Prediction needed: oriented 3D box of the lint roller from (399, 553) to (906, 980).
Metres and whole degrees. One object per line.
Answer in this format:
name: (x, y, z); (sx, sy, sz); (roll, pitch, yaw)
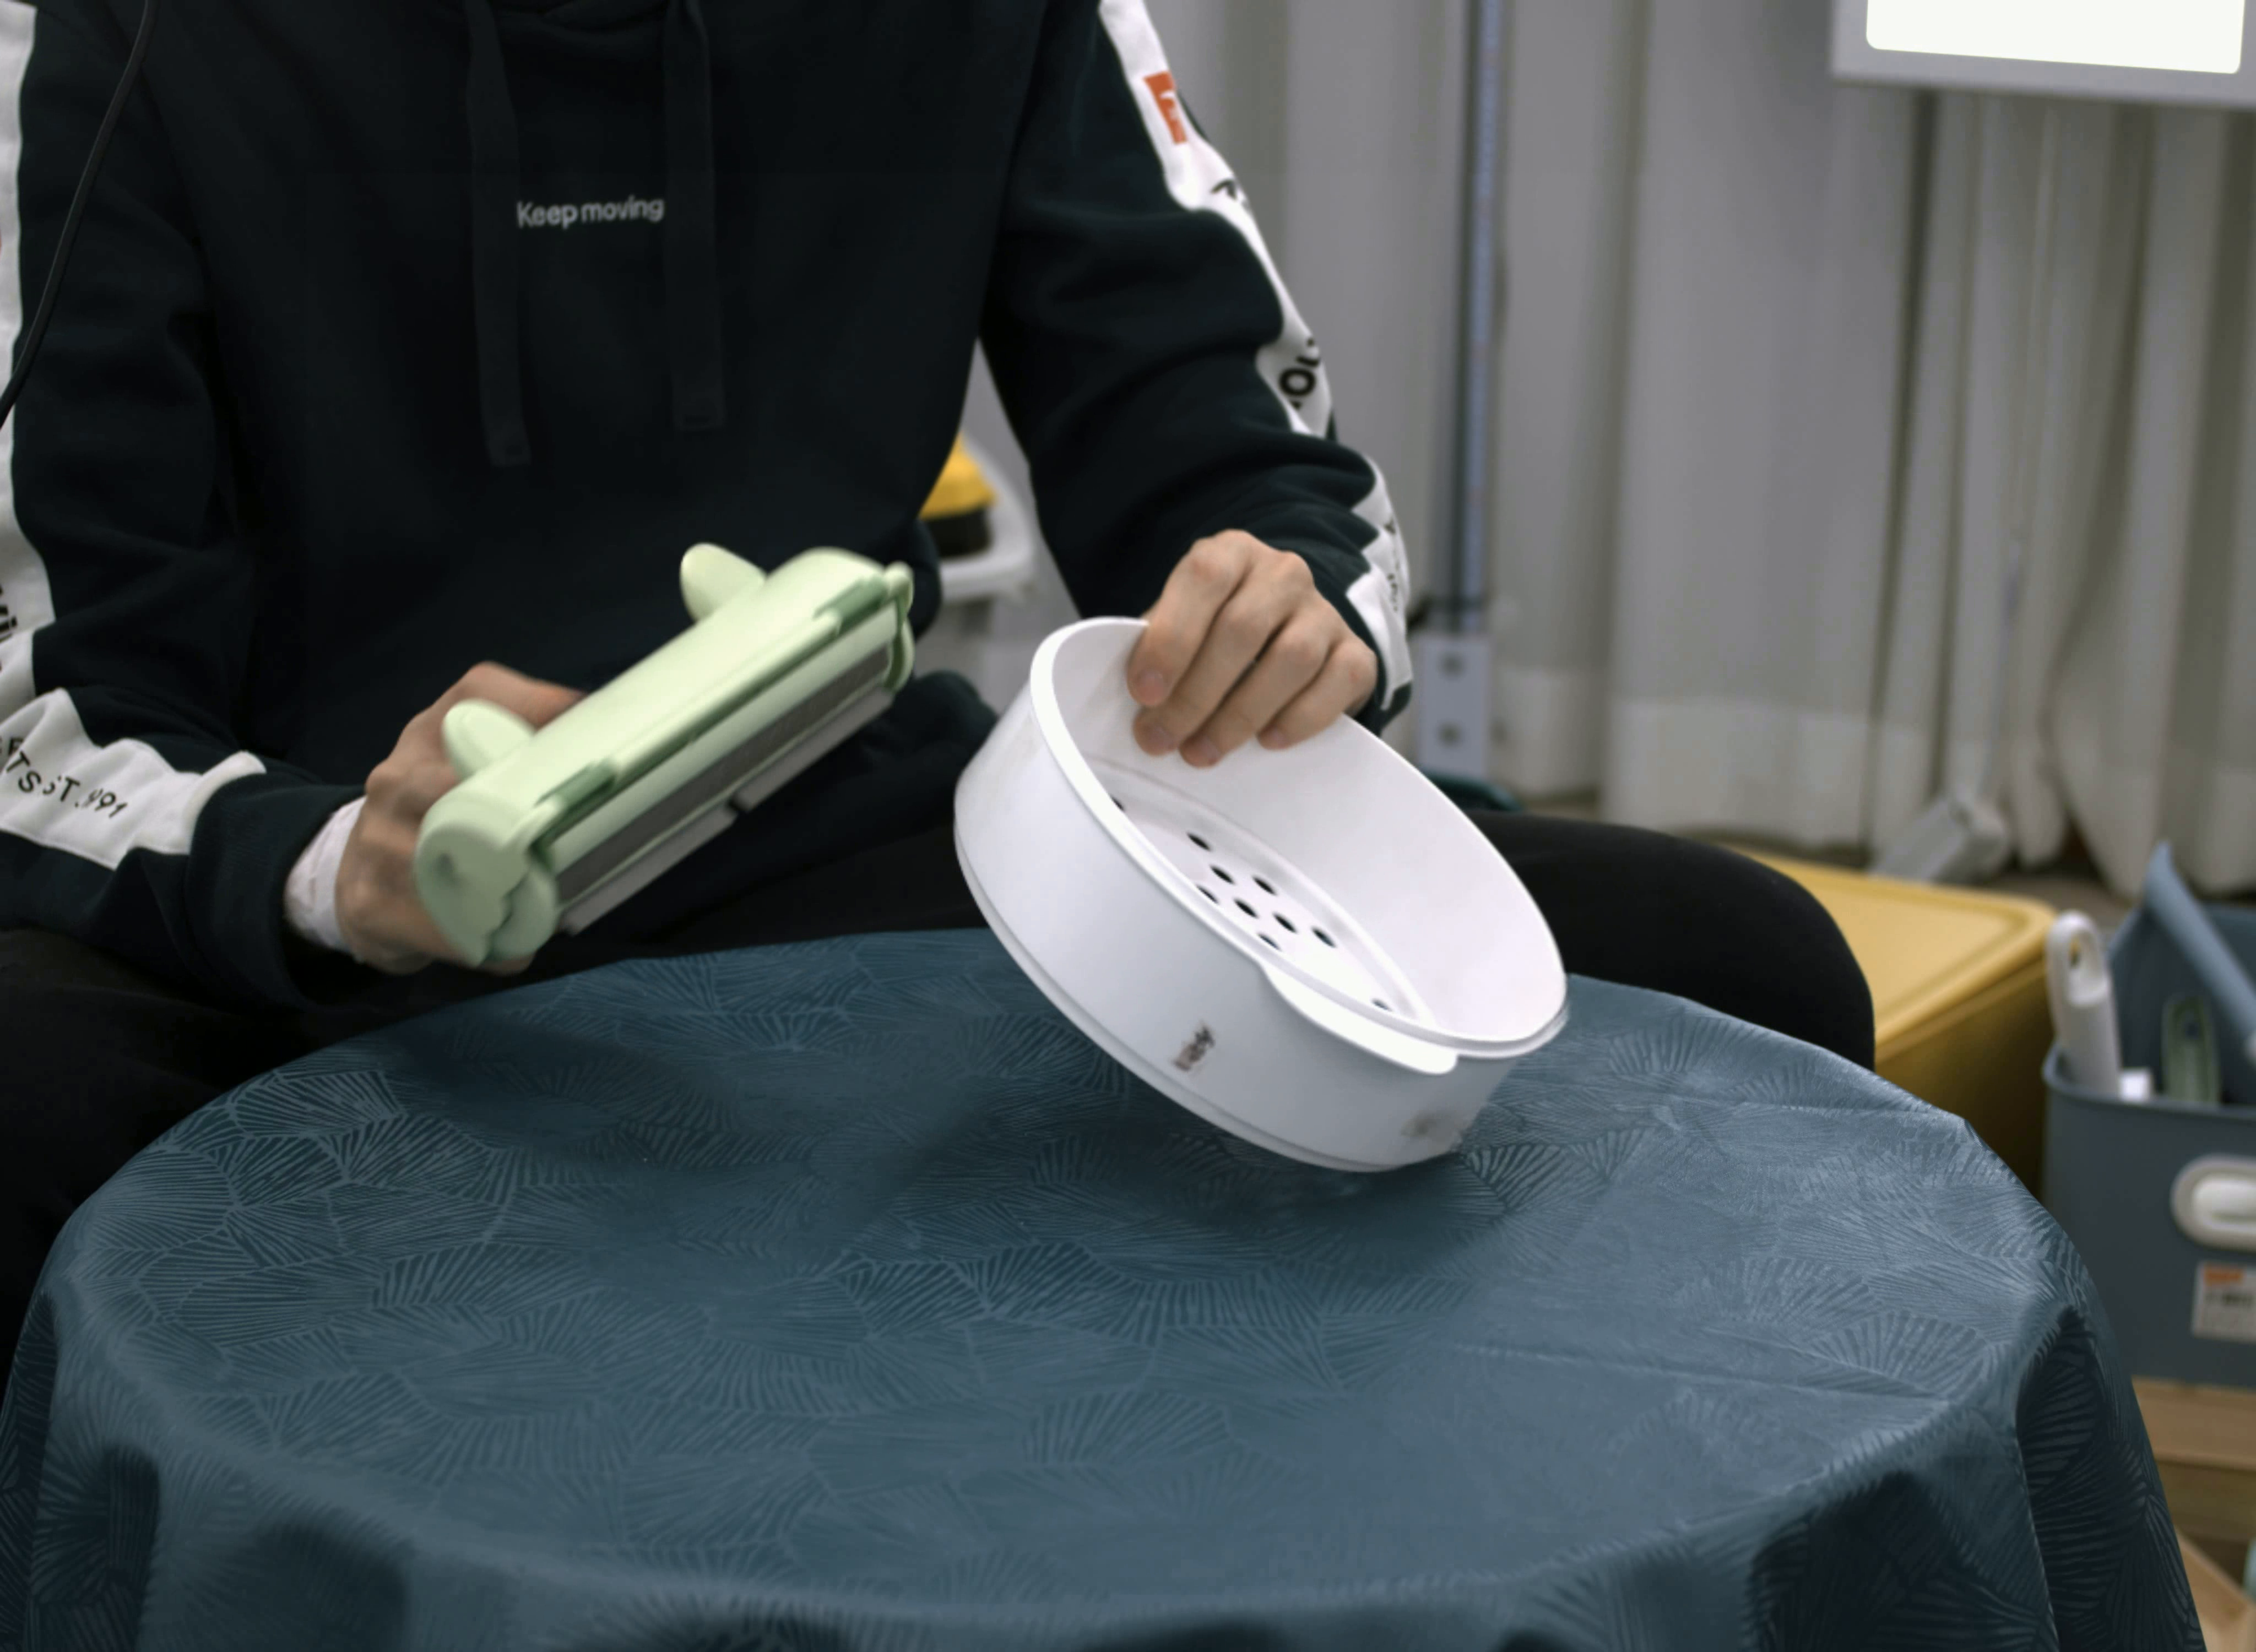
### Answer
lint roller: (-0.184, -0.014, 1.657); (0.182, 0.083, 0.199); (-17, 15, 45)

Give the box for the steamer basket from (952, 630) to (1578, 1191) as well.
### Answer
steamer basket: (0.042, 0.028, 1.646); (0.203, 0.069, 0.228); (24, 27, -26)
